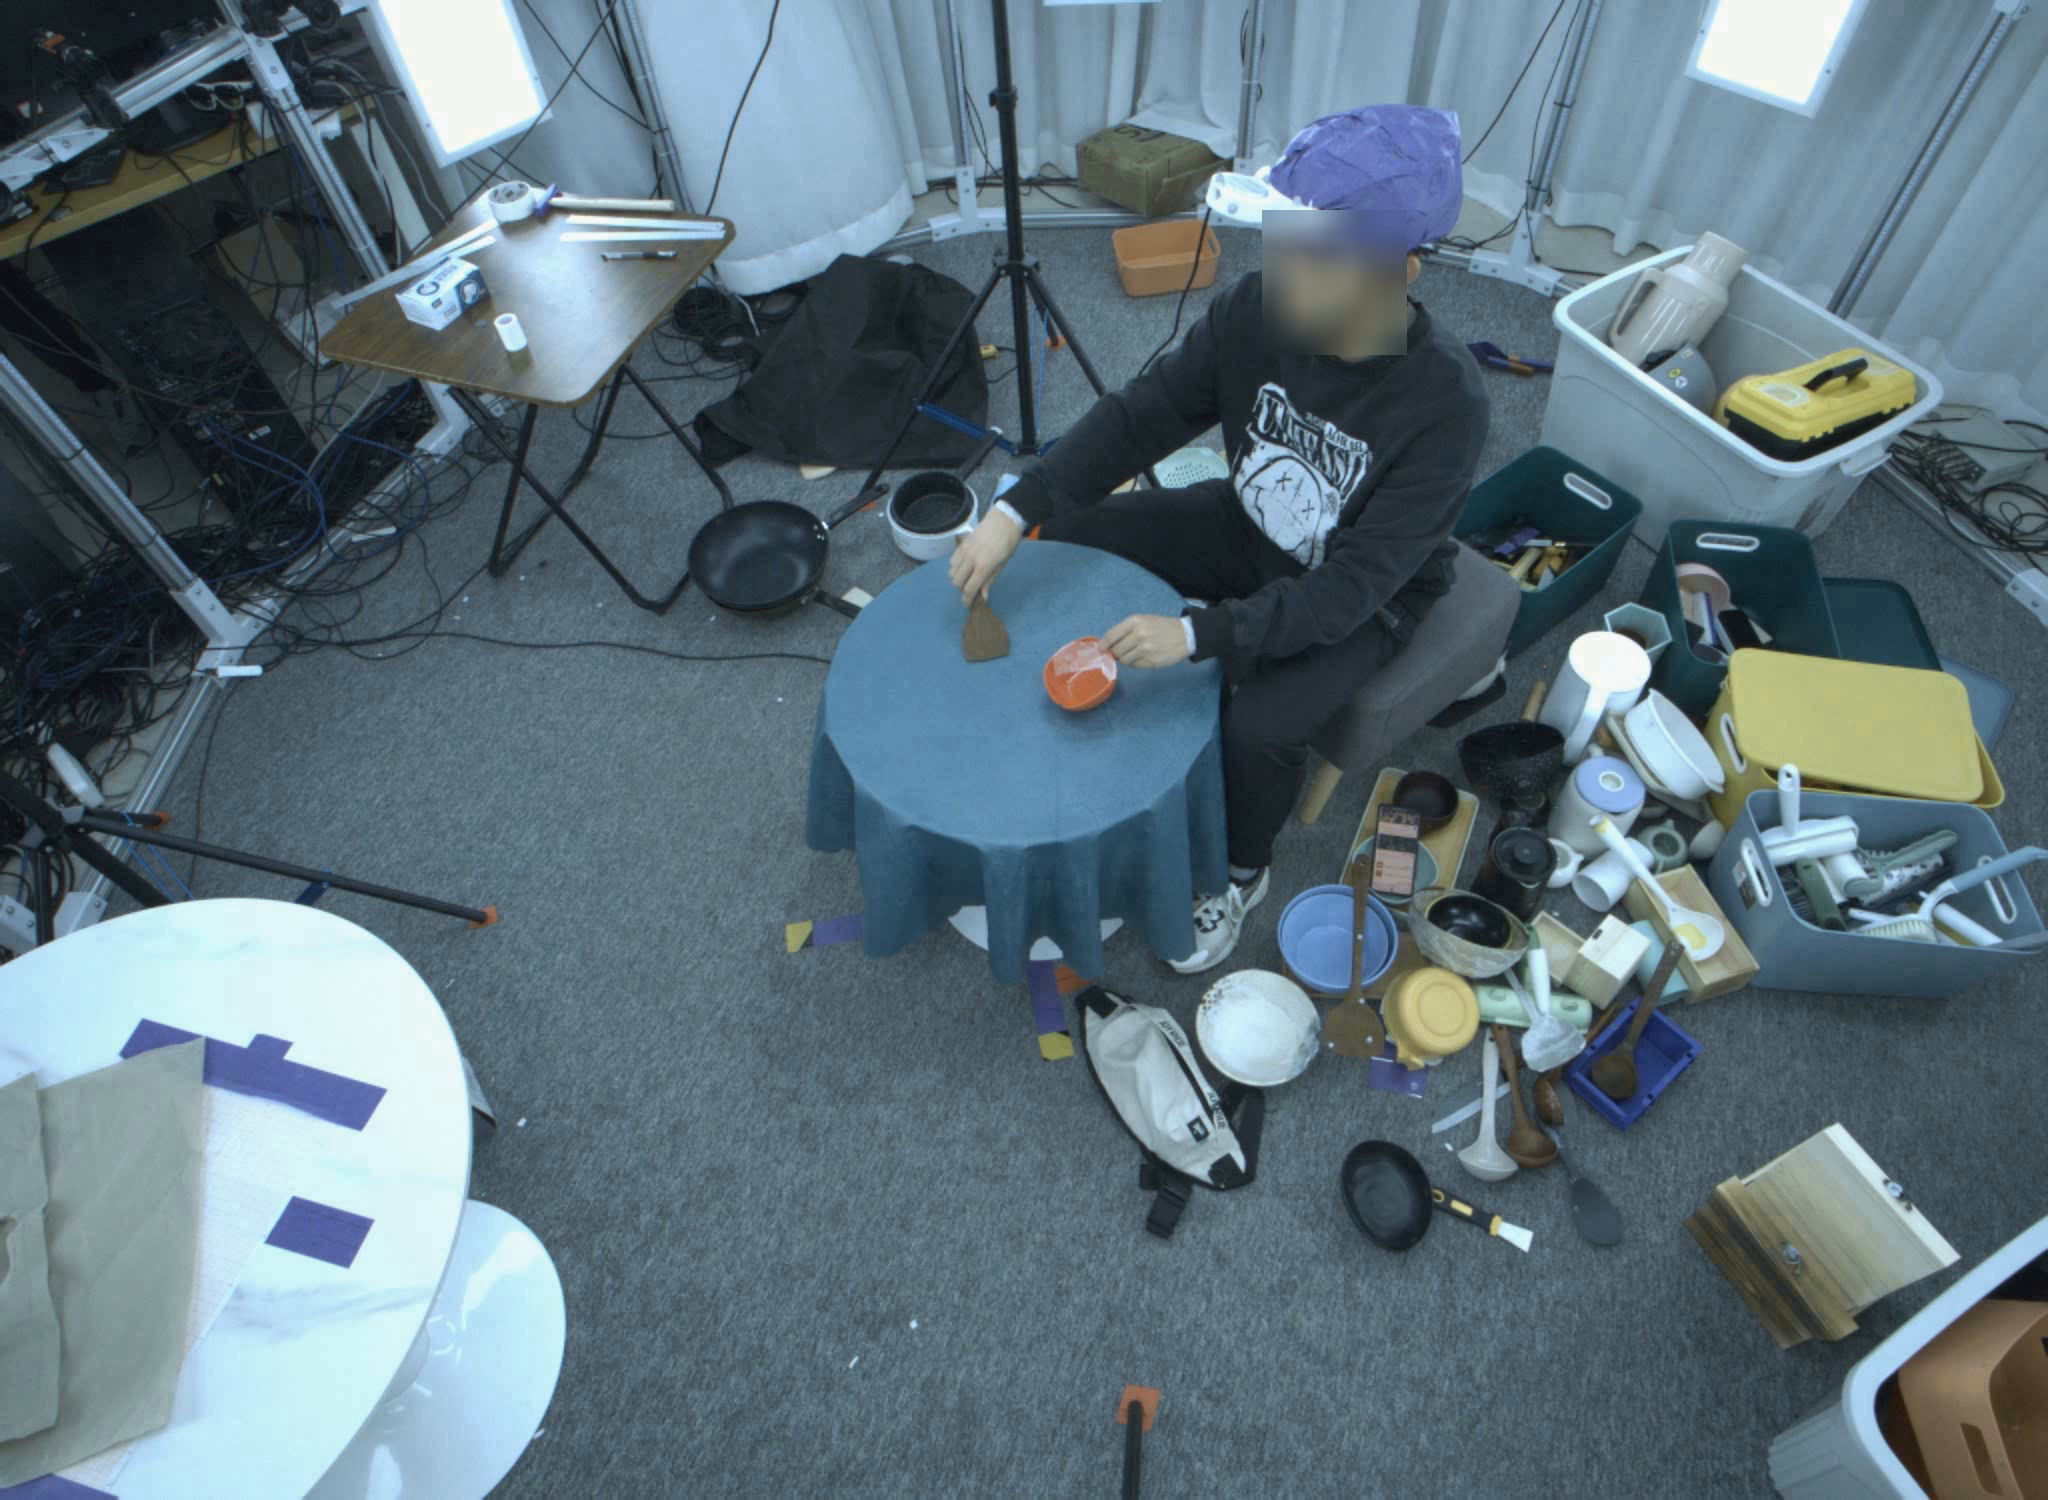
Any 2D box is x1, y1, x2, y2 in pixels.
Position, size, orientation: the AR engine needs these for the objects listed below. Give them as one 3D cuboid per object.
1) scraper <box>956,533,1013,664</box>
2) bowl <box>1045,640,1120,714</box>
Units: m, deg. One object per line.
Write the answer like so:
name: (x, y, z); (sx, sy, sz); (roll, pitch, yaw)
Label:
scraper: (-0.074, -0.238, 1.908); (0.076, 0.011, 0.210); (-11, 84, -4)
bowl: (0.094, -0.100, 1.822); (0.117, 0.052, 0.118); (-11, 62, 22)
